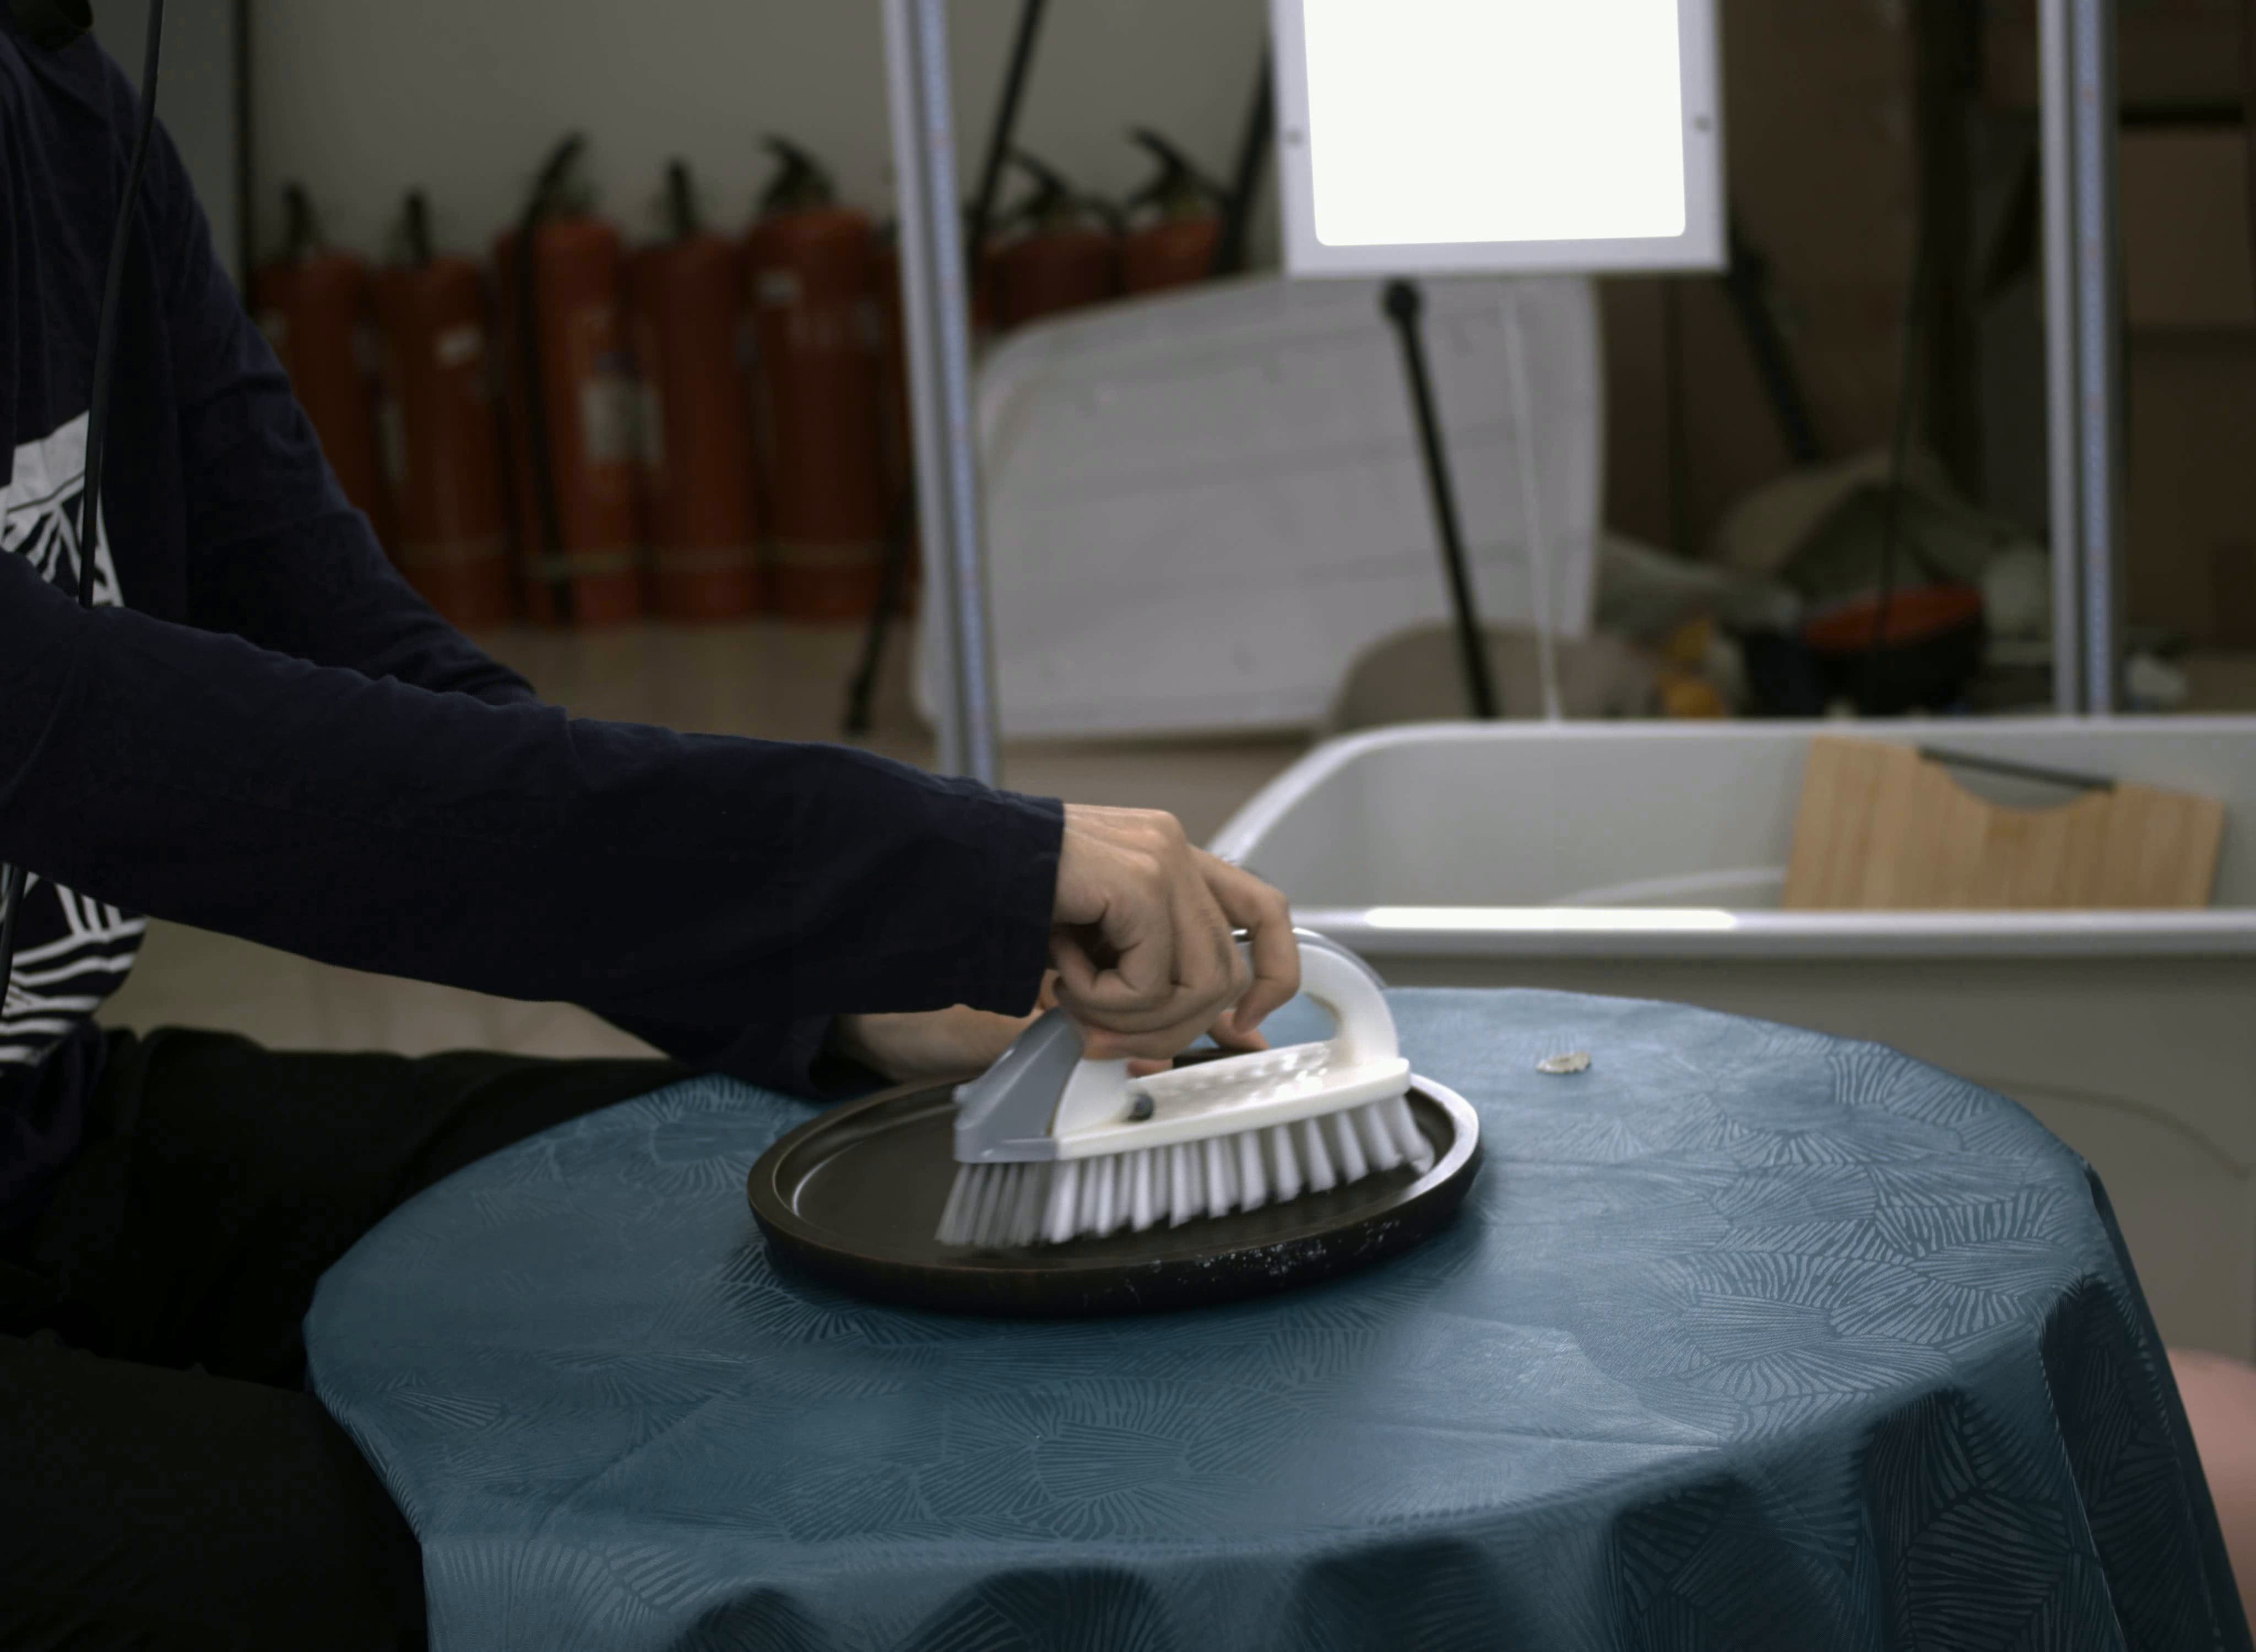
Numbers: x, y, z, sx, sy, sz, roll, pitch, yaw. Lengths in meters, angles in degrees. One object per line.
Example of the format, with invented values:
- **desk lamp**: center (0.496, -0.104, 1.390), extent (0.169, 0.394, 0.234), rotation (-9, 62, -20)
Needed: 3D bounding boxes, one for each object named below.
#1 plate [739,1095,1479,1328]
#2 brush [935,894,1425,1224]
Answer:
- **plate**: center (-0.006, 0.124, 1.875), extent (0.254, 0.029, 0.254), rotation (-4, 14, 0)
- **brush**: center (0.012, 0.075, 1.822), extent (0.172, 0.094, 0.062), rotation (-12, 16, -22)
